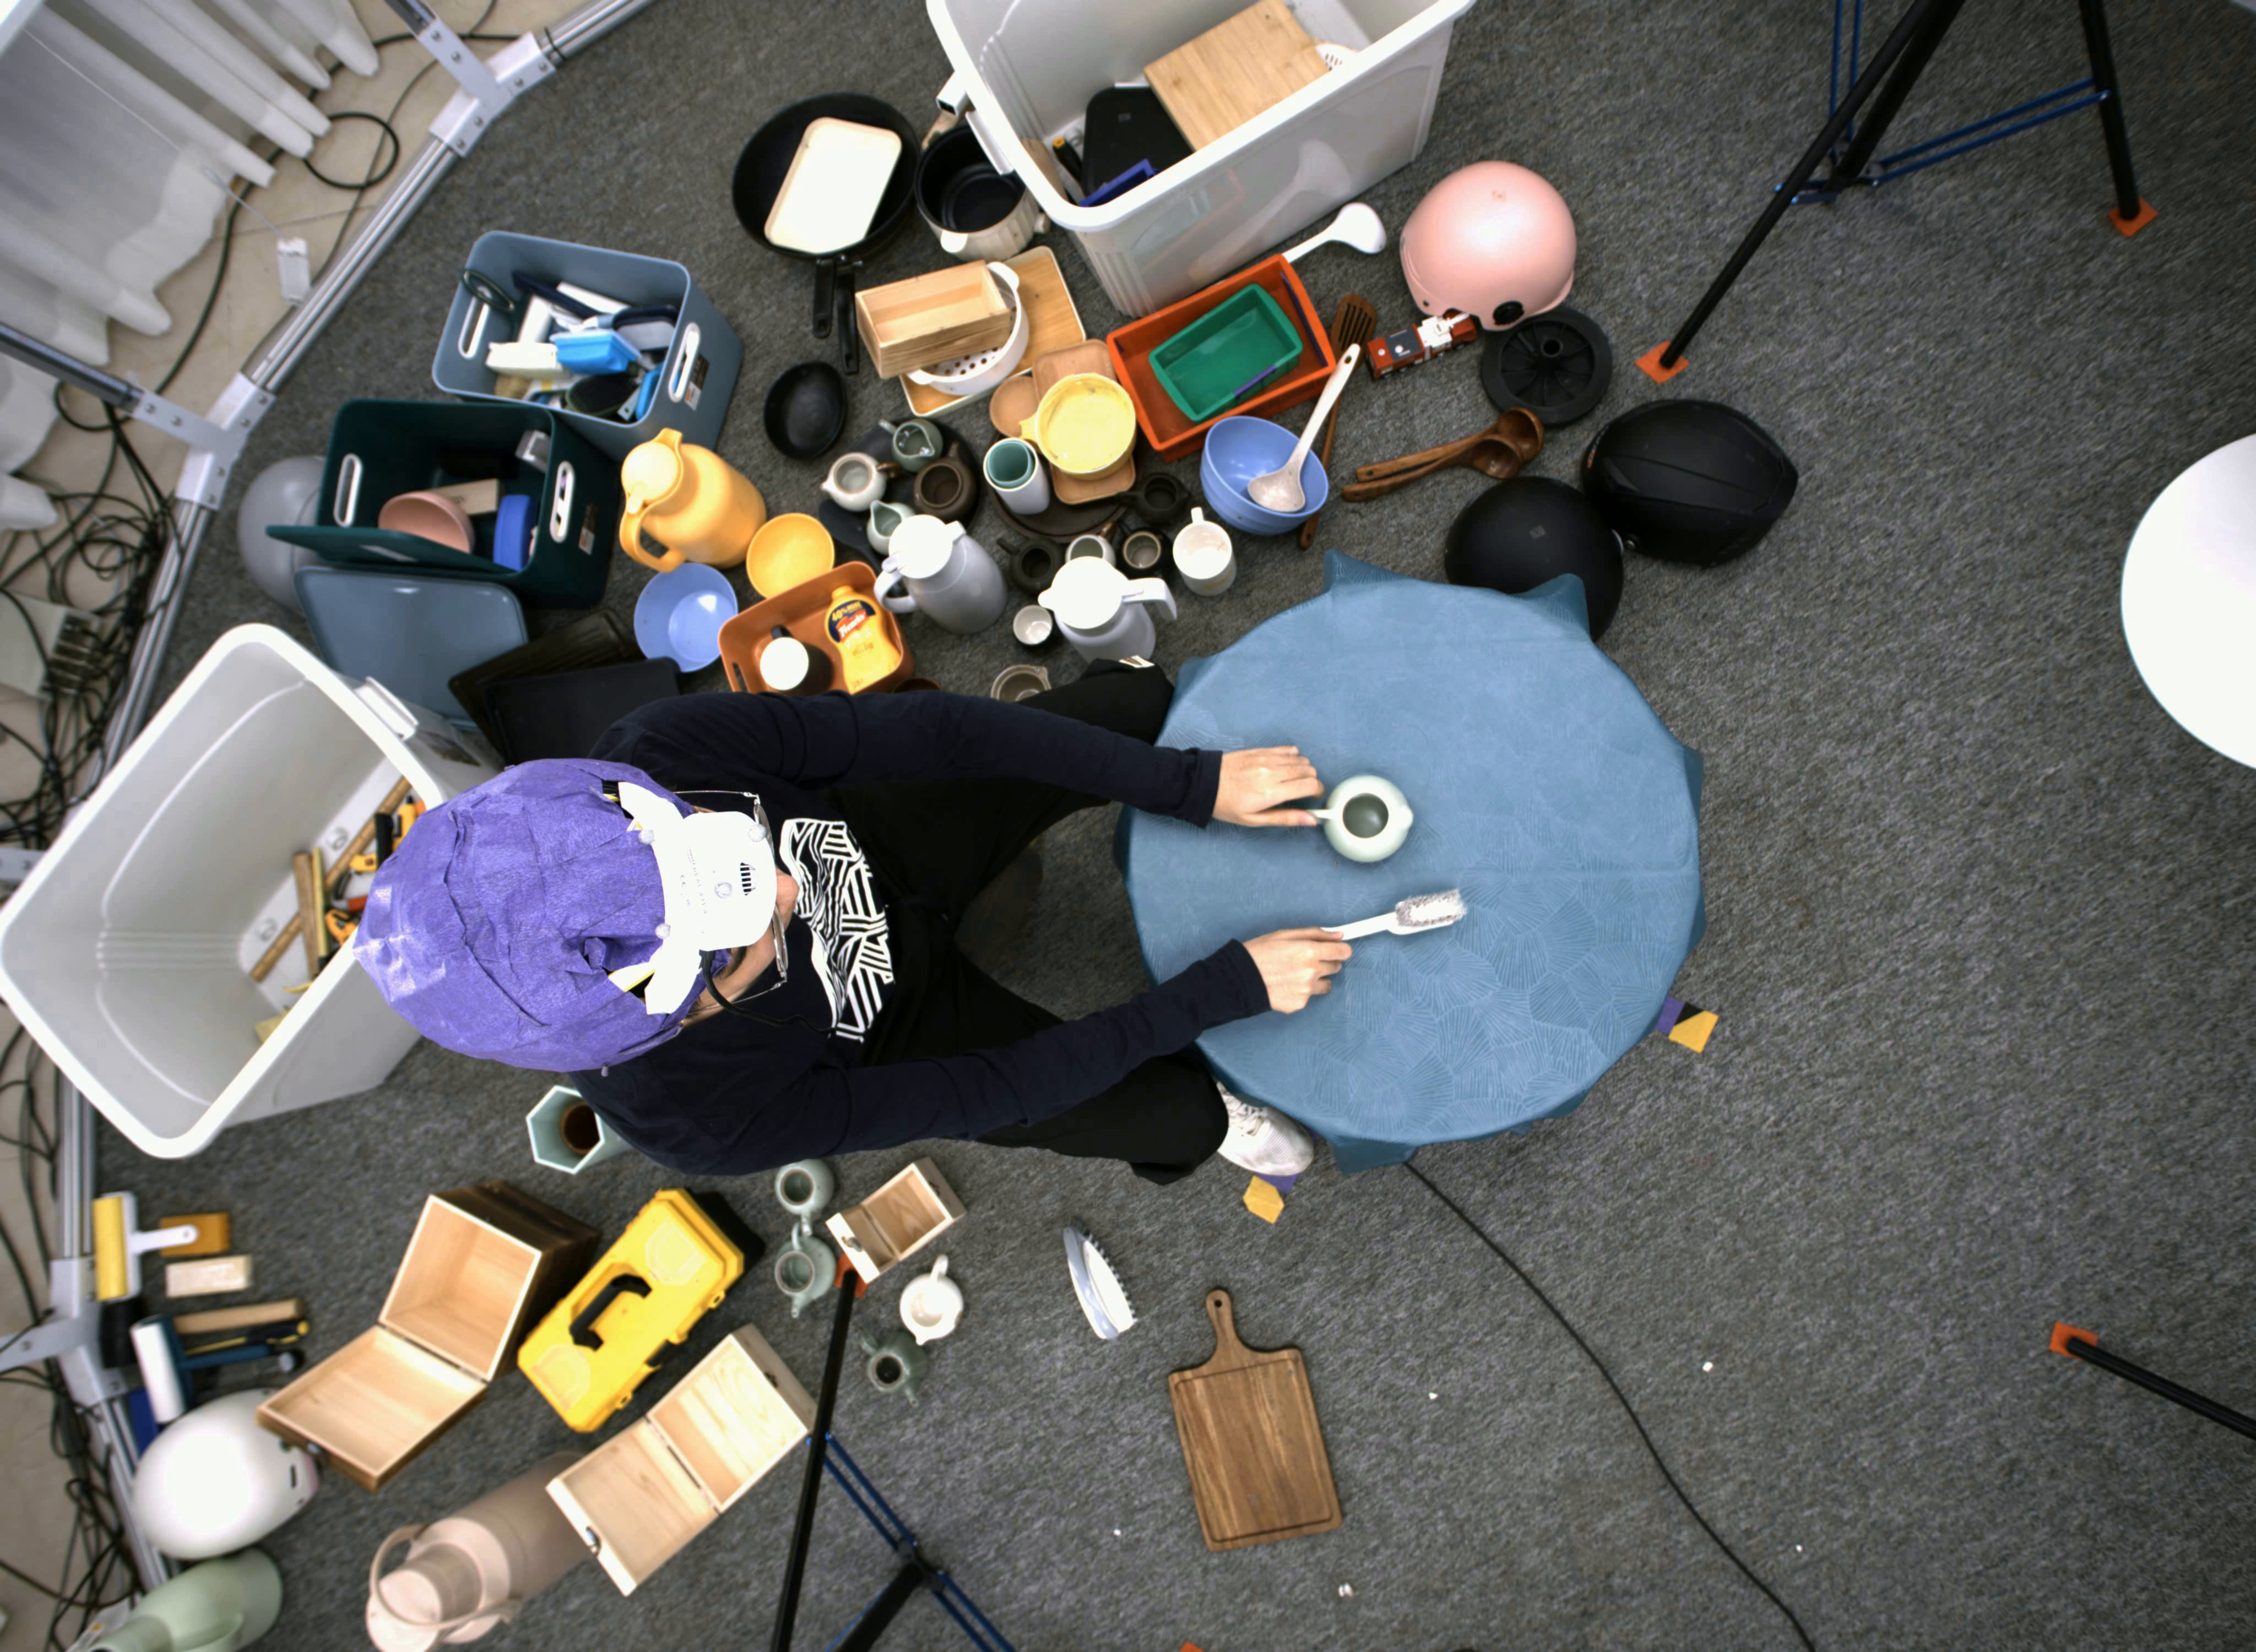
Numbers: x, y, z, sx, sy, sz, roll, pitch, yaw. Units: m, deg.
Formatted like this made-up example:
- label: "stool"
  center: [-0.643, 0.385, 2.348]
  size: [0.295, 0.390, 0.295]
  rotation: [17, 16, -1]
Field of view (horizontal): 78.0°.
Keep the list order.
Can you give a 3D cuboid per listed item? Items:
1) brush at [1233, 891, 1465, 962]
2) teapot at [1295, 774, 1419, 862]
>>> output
- label: "brush"
  center: [0.226, 0.106, 1.436]
  size: [0.245, 0.050, 0.034]
  rotation: [-12, 81, 8]
- label: "teapot"
  center: [0.239, -0.010, 1.440]
  size: [0.129, 0.060, 0.091]
  rotation: [7, 93, 11]
